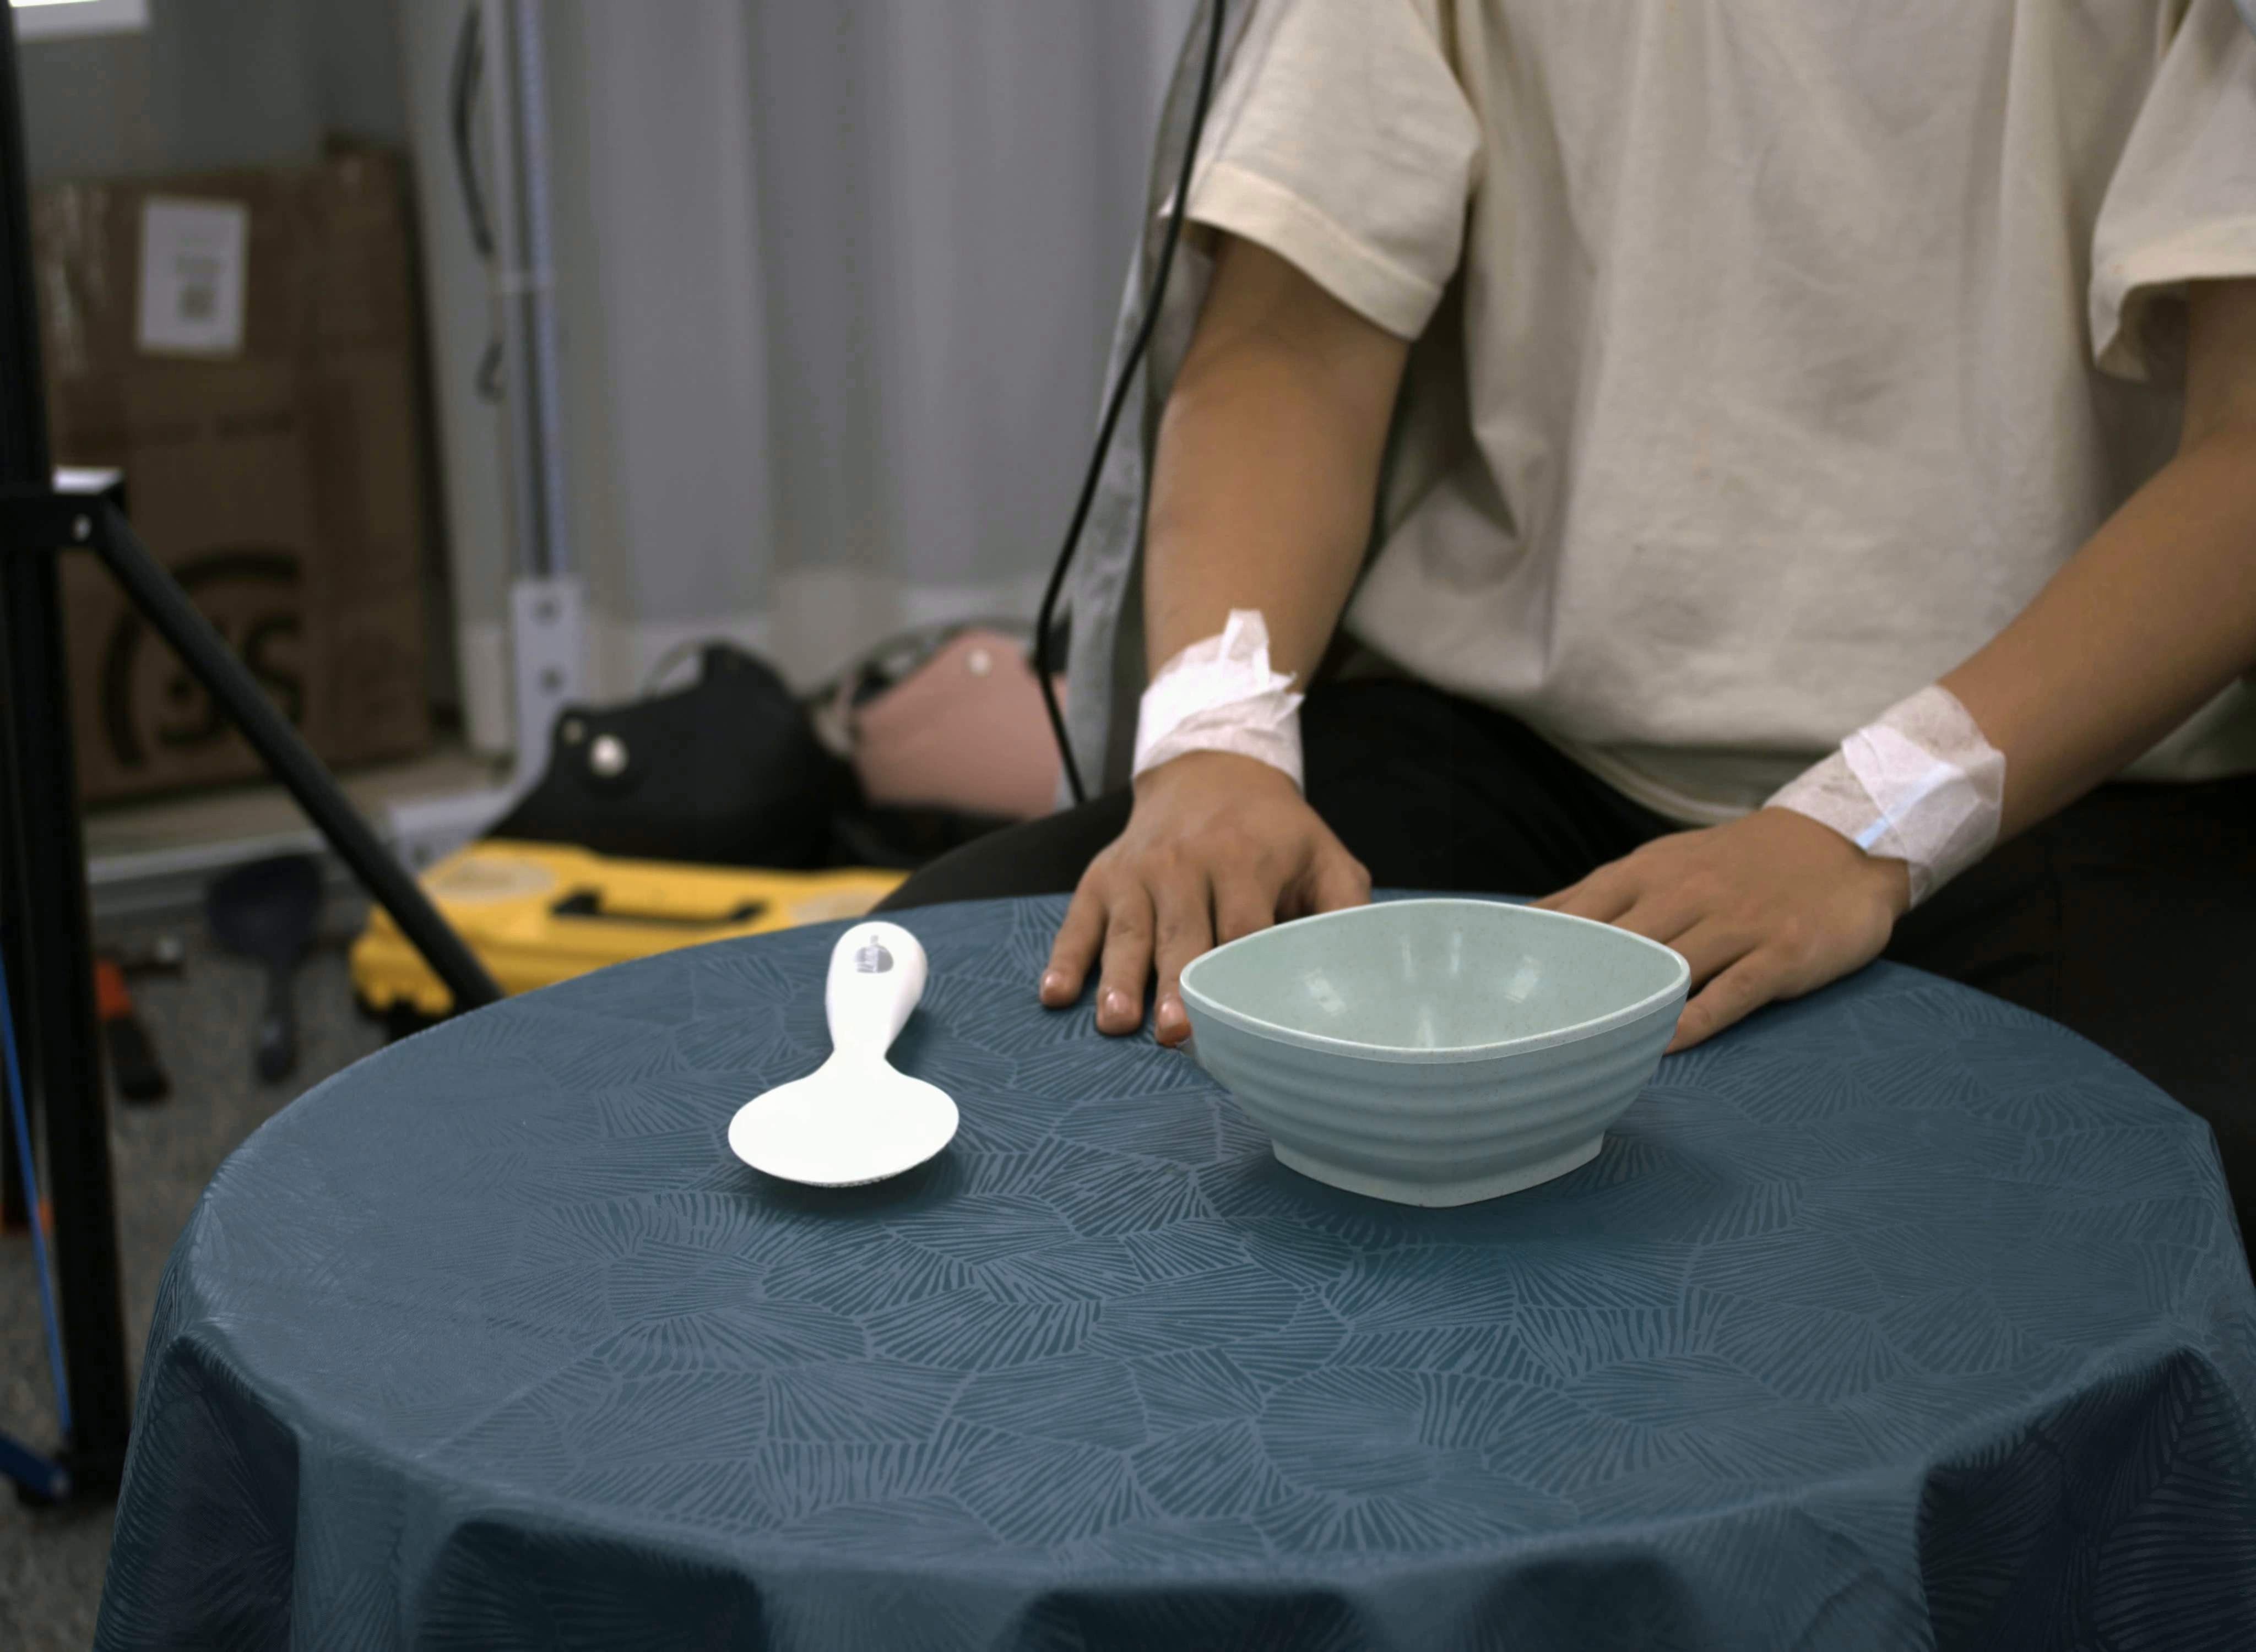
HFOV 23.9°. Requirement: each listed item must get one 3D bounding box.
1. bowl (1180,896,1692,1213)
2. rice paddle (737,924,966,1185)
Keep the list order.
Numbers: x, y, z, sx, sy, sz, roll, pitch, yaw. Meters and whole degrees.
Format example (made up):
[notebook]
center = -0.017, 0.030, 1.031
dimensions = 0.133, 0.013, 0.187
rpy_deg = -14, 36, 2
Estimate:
[bowl]
center = 0.092, 0.071, 1.570
dimensions = 0.151, 0.058, 0.152
rpy_deg = -5, 16, 0
[rice paddle]
center = -0.082, 0.073, 1.640
dimensions = 0.068, 0.029, 0.206
rpy_deg = -4, 15, 2
